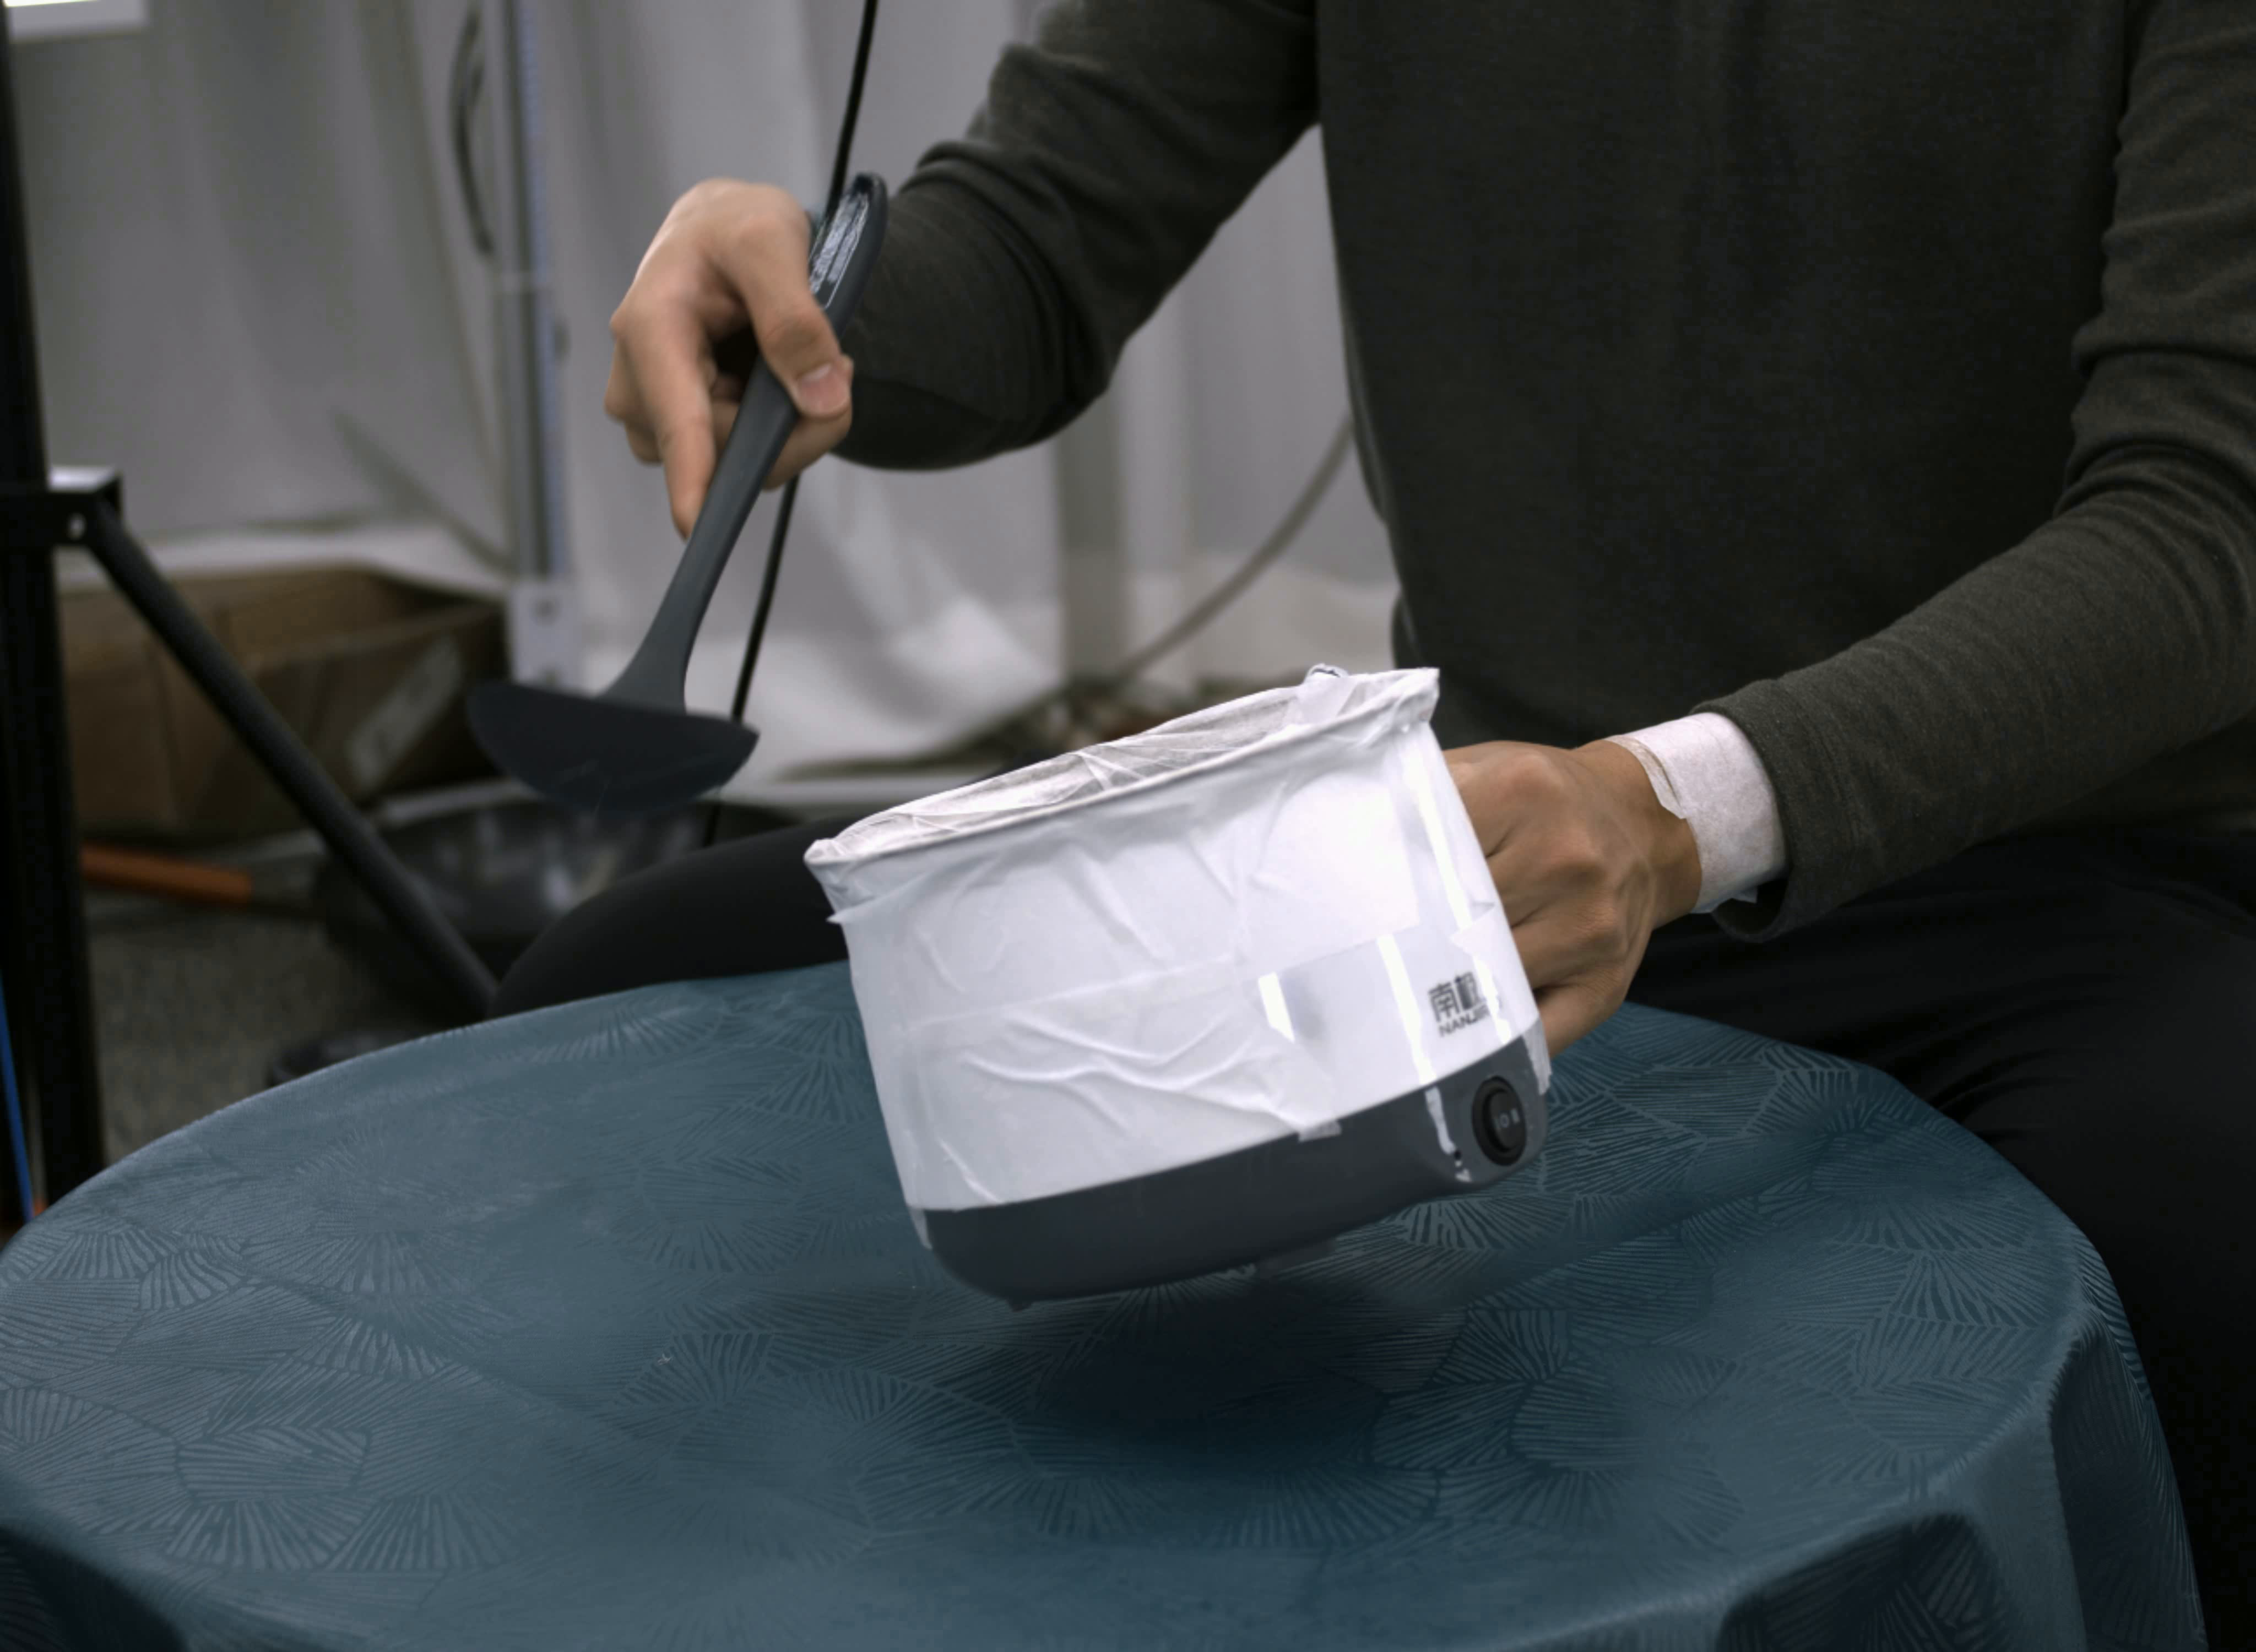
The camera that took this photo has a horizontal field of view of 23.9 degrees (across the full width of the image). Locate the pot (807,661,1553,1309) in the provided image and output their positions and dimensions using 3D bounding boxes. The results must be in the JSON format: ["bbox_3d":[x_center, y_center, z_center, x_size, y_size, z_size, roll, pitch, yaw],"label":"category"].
[{"bbox_3d":[0.033,0.037,1.434,0.182,0.137,0.229,-13,5,38],"label":"pot"}]

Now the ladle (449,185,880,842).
[{"bbox_3d":[-0.116,-0.109,1.555,0.086,0.064,0.314,13,45,5],"label":"ladle"}]
